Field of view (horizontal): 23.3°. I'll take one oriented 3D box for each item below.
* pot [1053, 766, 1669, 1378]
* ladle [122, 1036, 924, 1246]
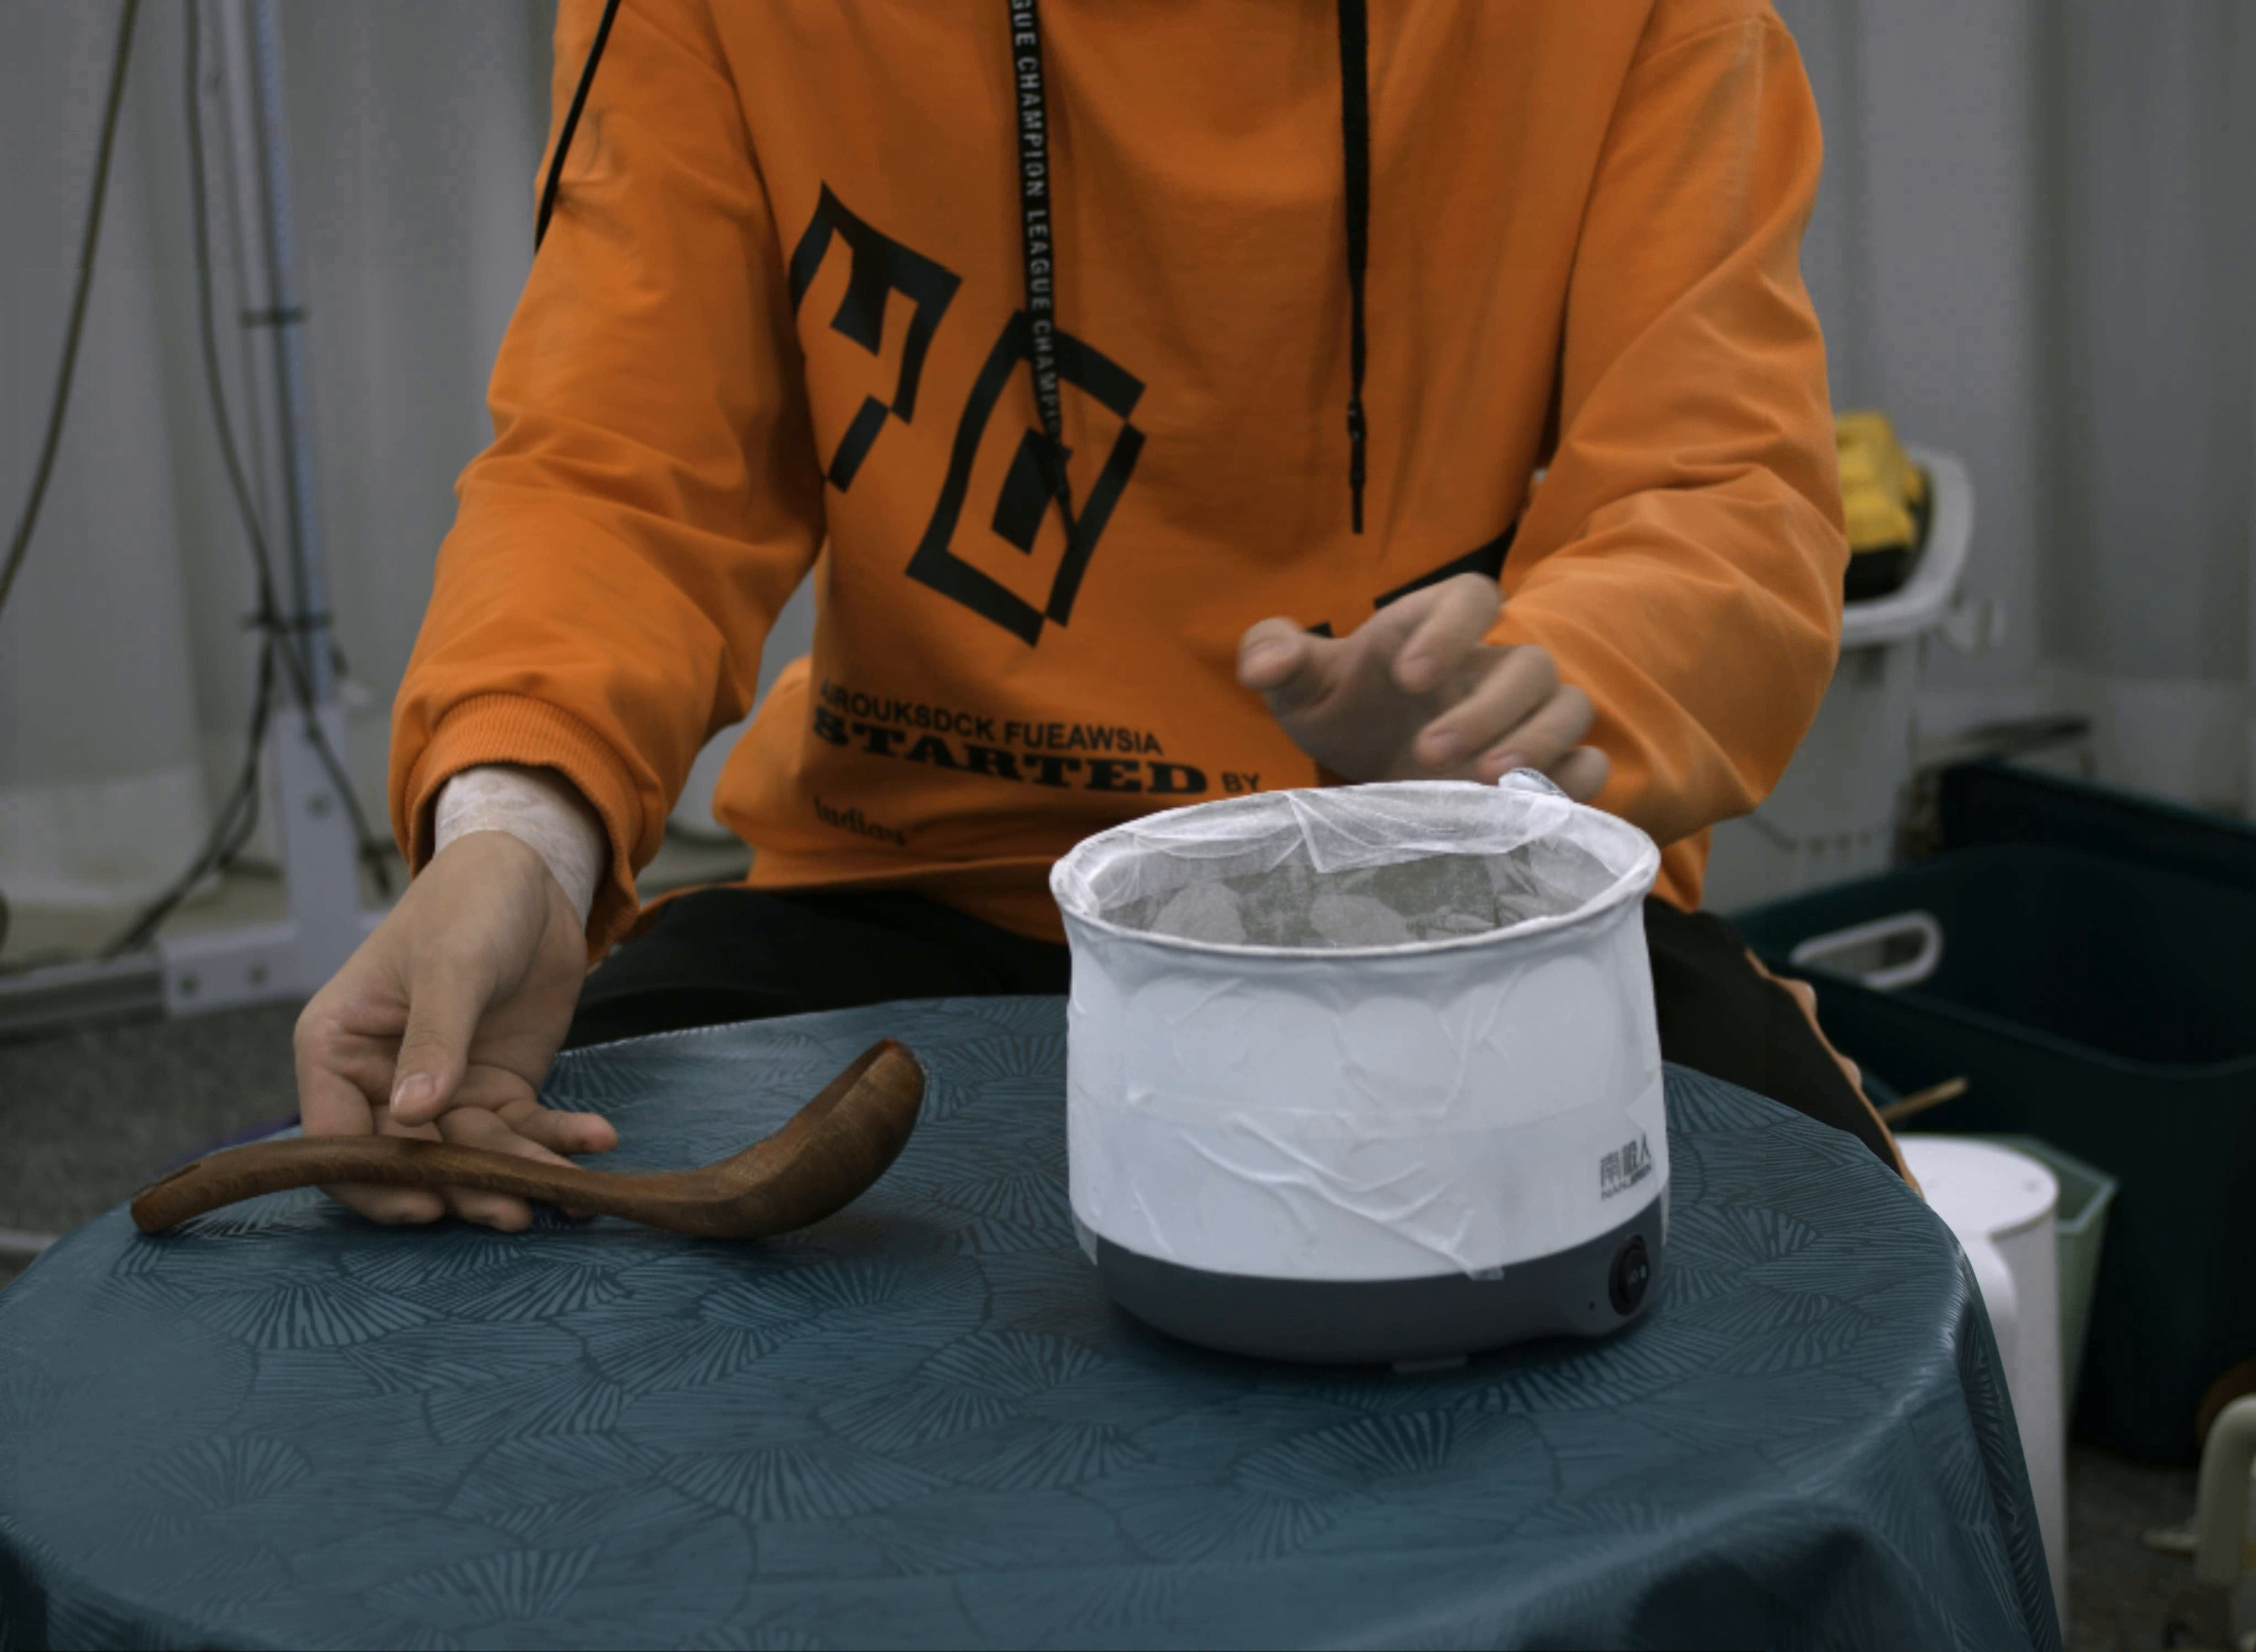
[{"bbox_3d":[0.084,0.065,1.620,0.179,0.136,0.234,7,18,31],"label":"pot"},{"bbox_3d":[-0.190,0.096,1.698,0.260,0.065,0.077,0,10,12],"label":"ladle"}]
